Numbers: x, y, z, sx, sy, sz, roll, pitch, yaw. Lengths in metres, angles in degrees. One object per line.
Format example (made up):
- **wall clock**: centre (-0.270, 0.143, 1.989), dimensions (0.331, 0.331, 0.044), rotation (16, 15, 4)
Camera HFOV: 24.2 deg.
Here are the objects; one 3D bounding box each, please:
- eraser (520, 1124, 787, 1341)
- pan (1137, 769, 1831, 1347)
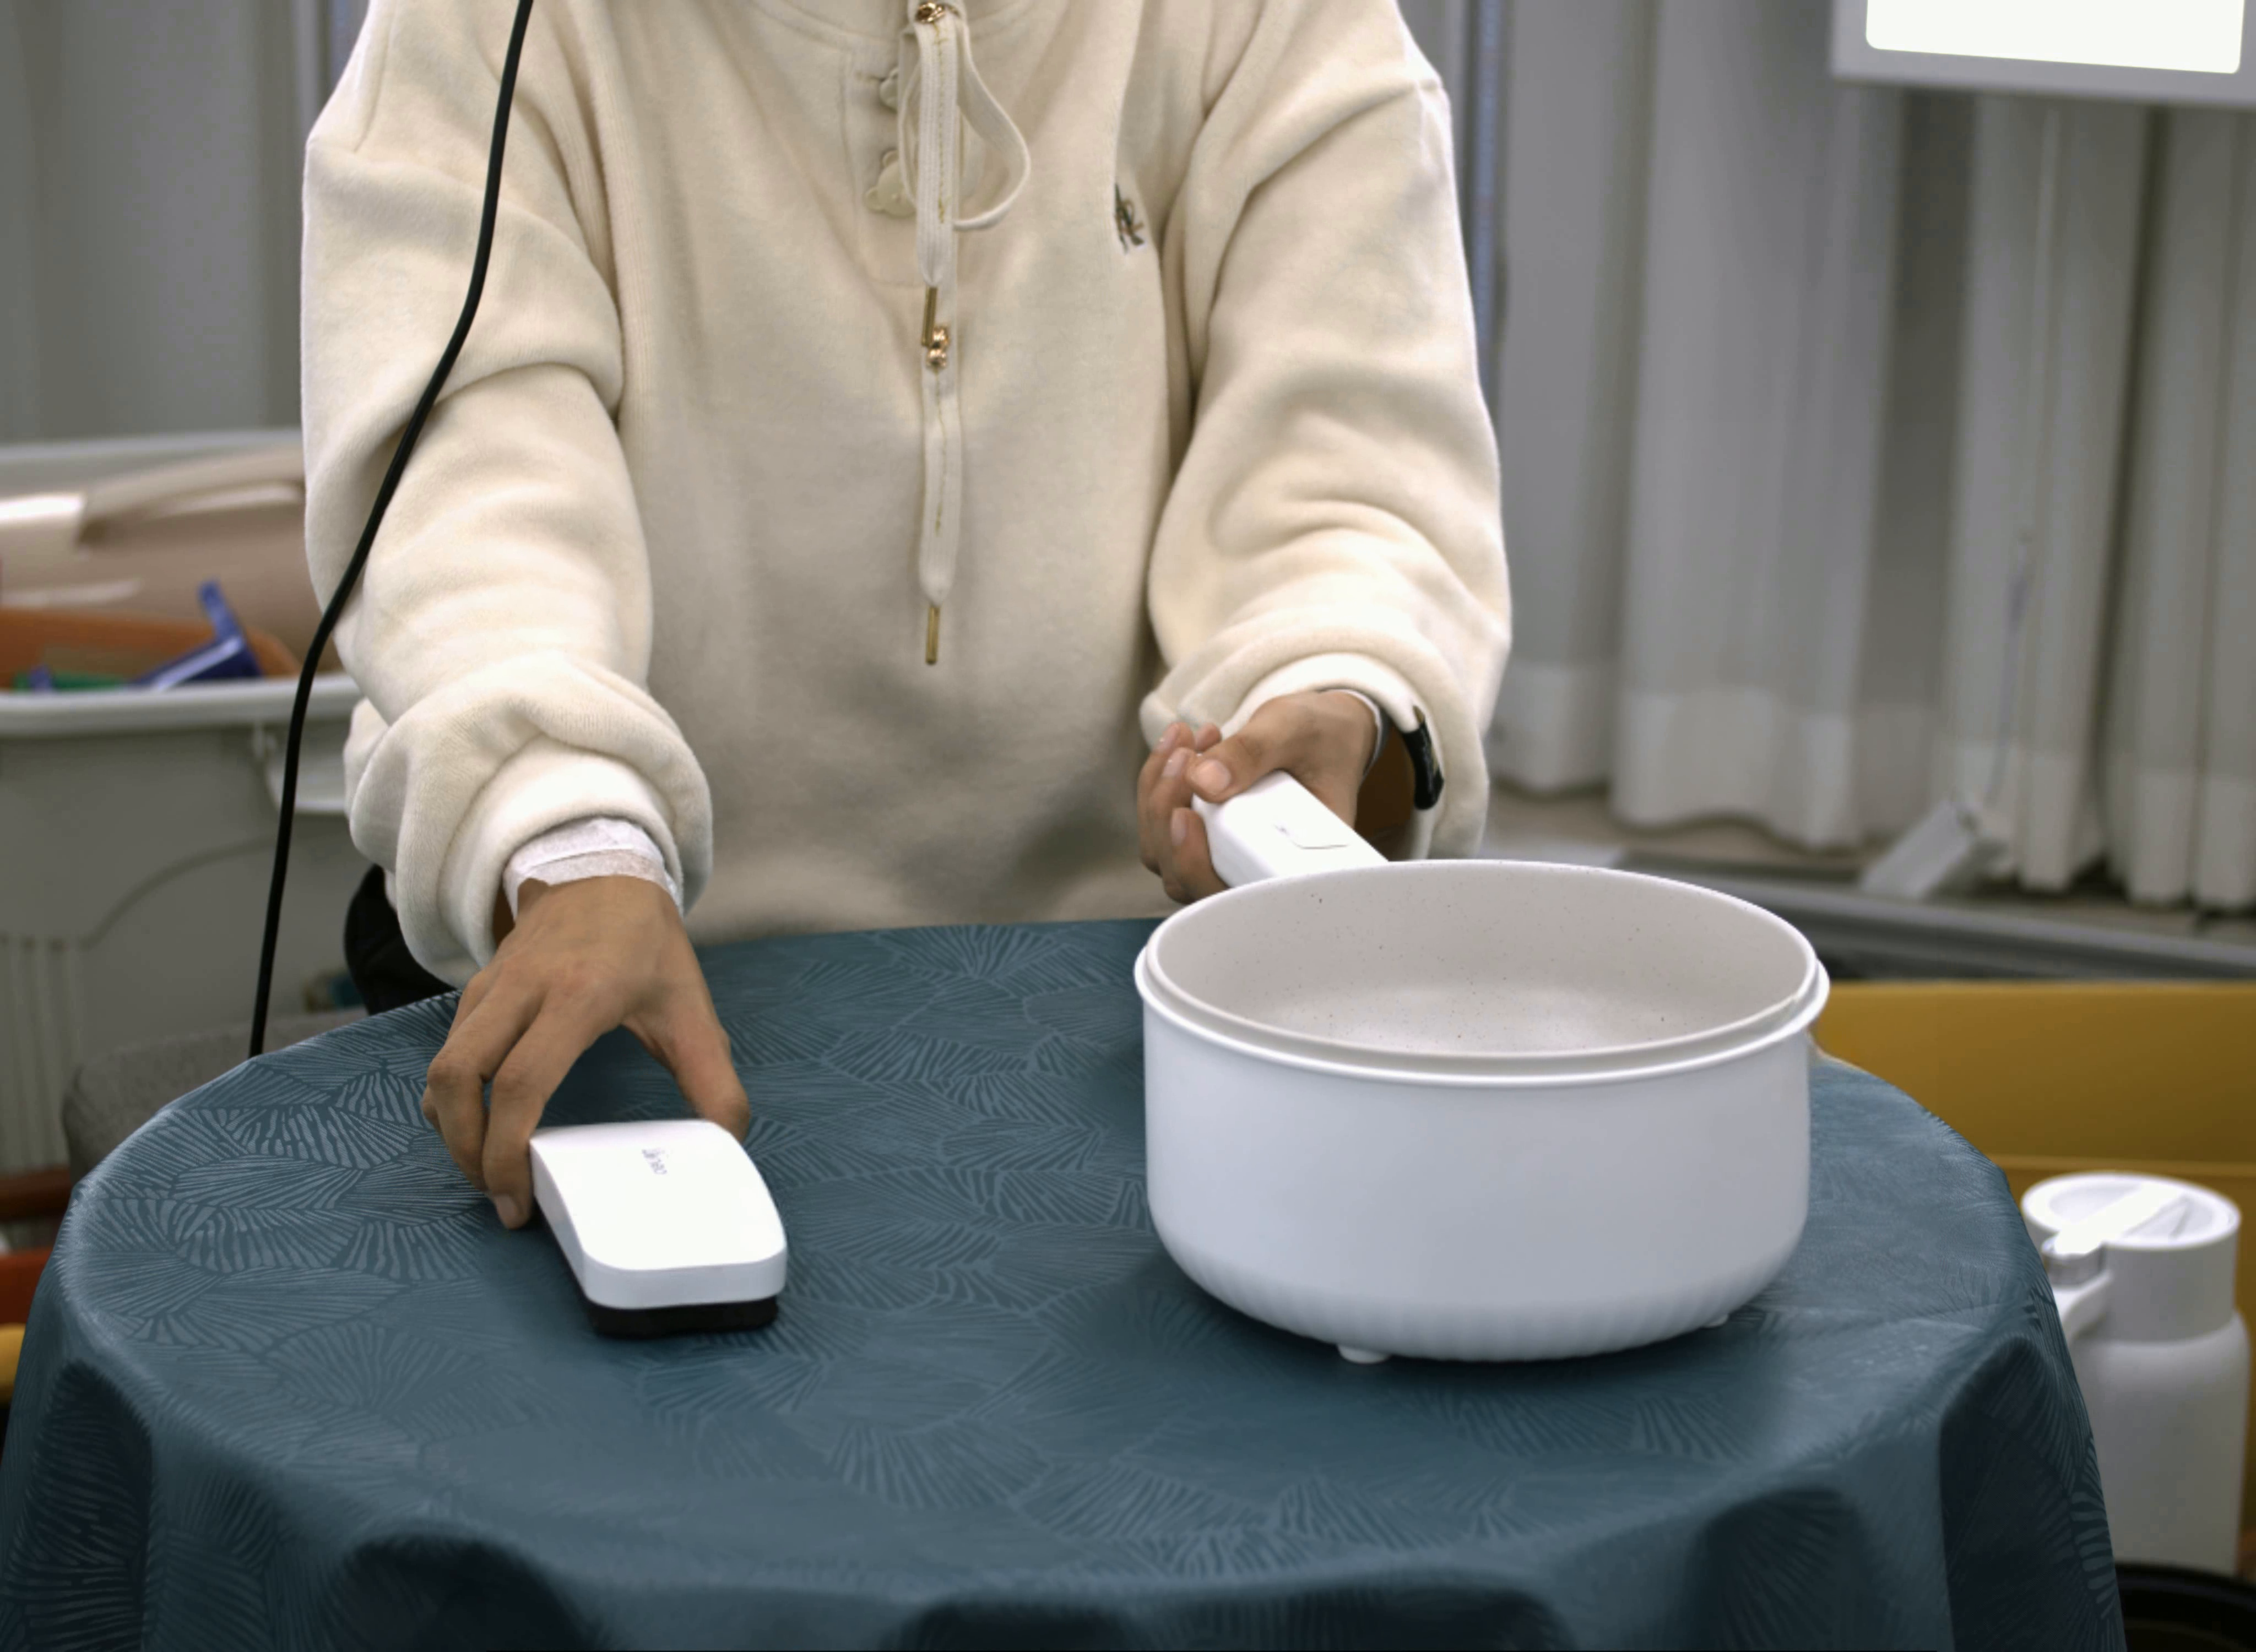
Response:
- **eraser**: centre (-0.140, 0.115, 1.550), dimensions (0.063, 0.035, 0.130), rotation (0, 16, -16)
- **pan**: centre (0.080, 0.066, 1.604), dimensions (0.201, 0.103, 0.351), rotation (-3, 13, -17)
